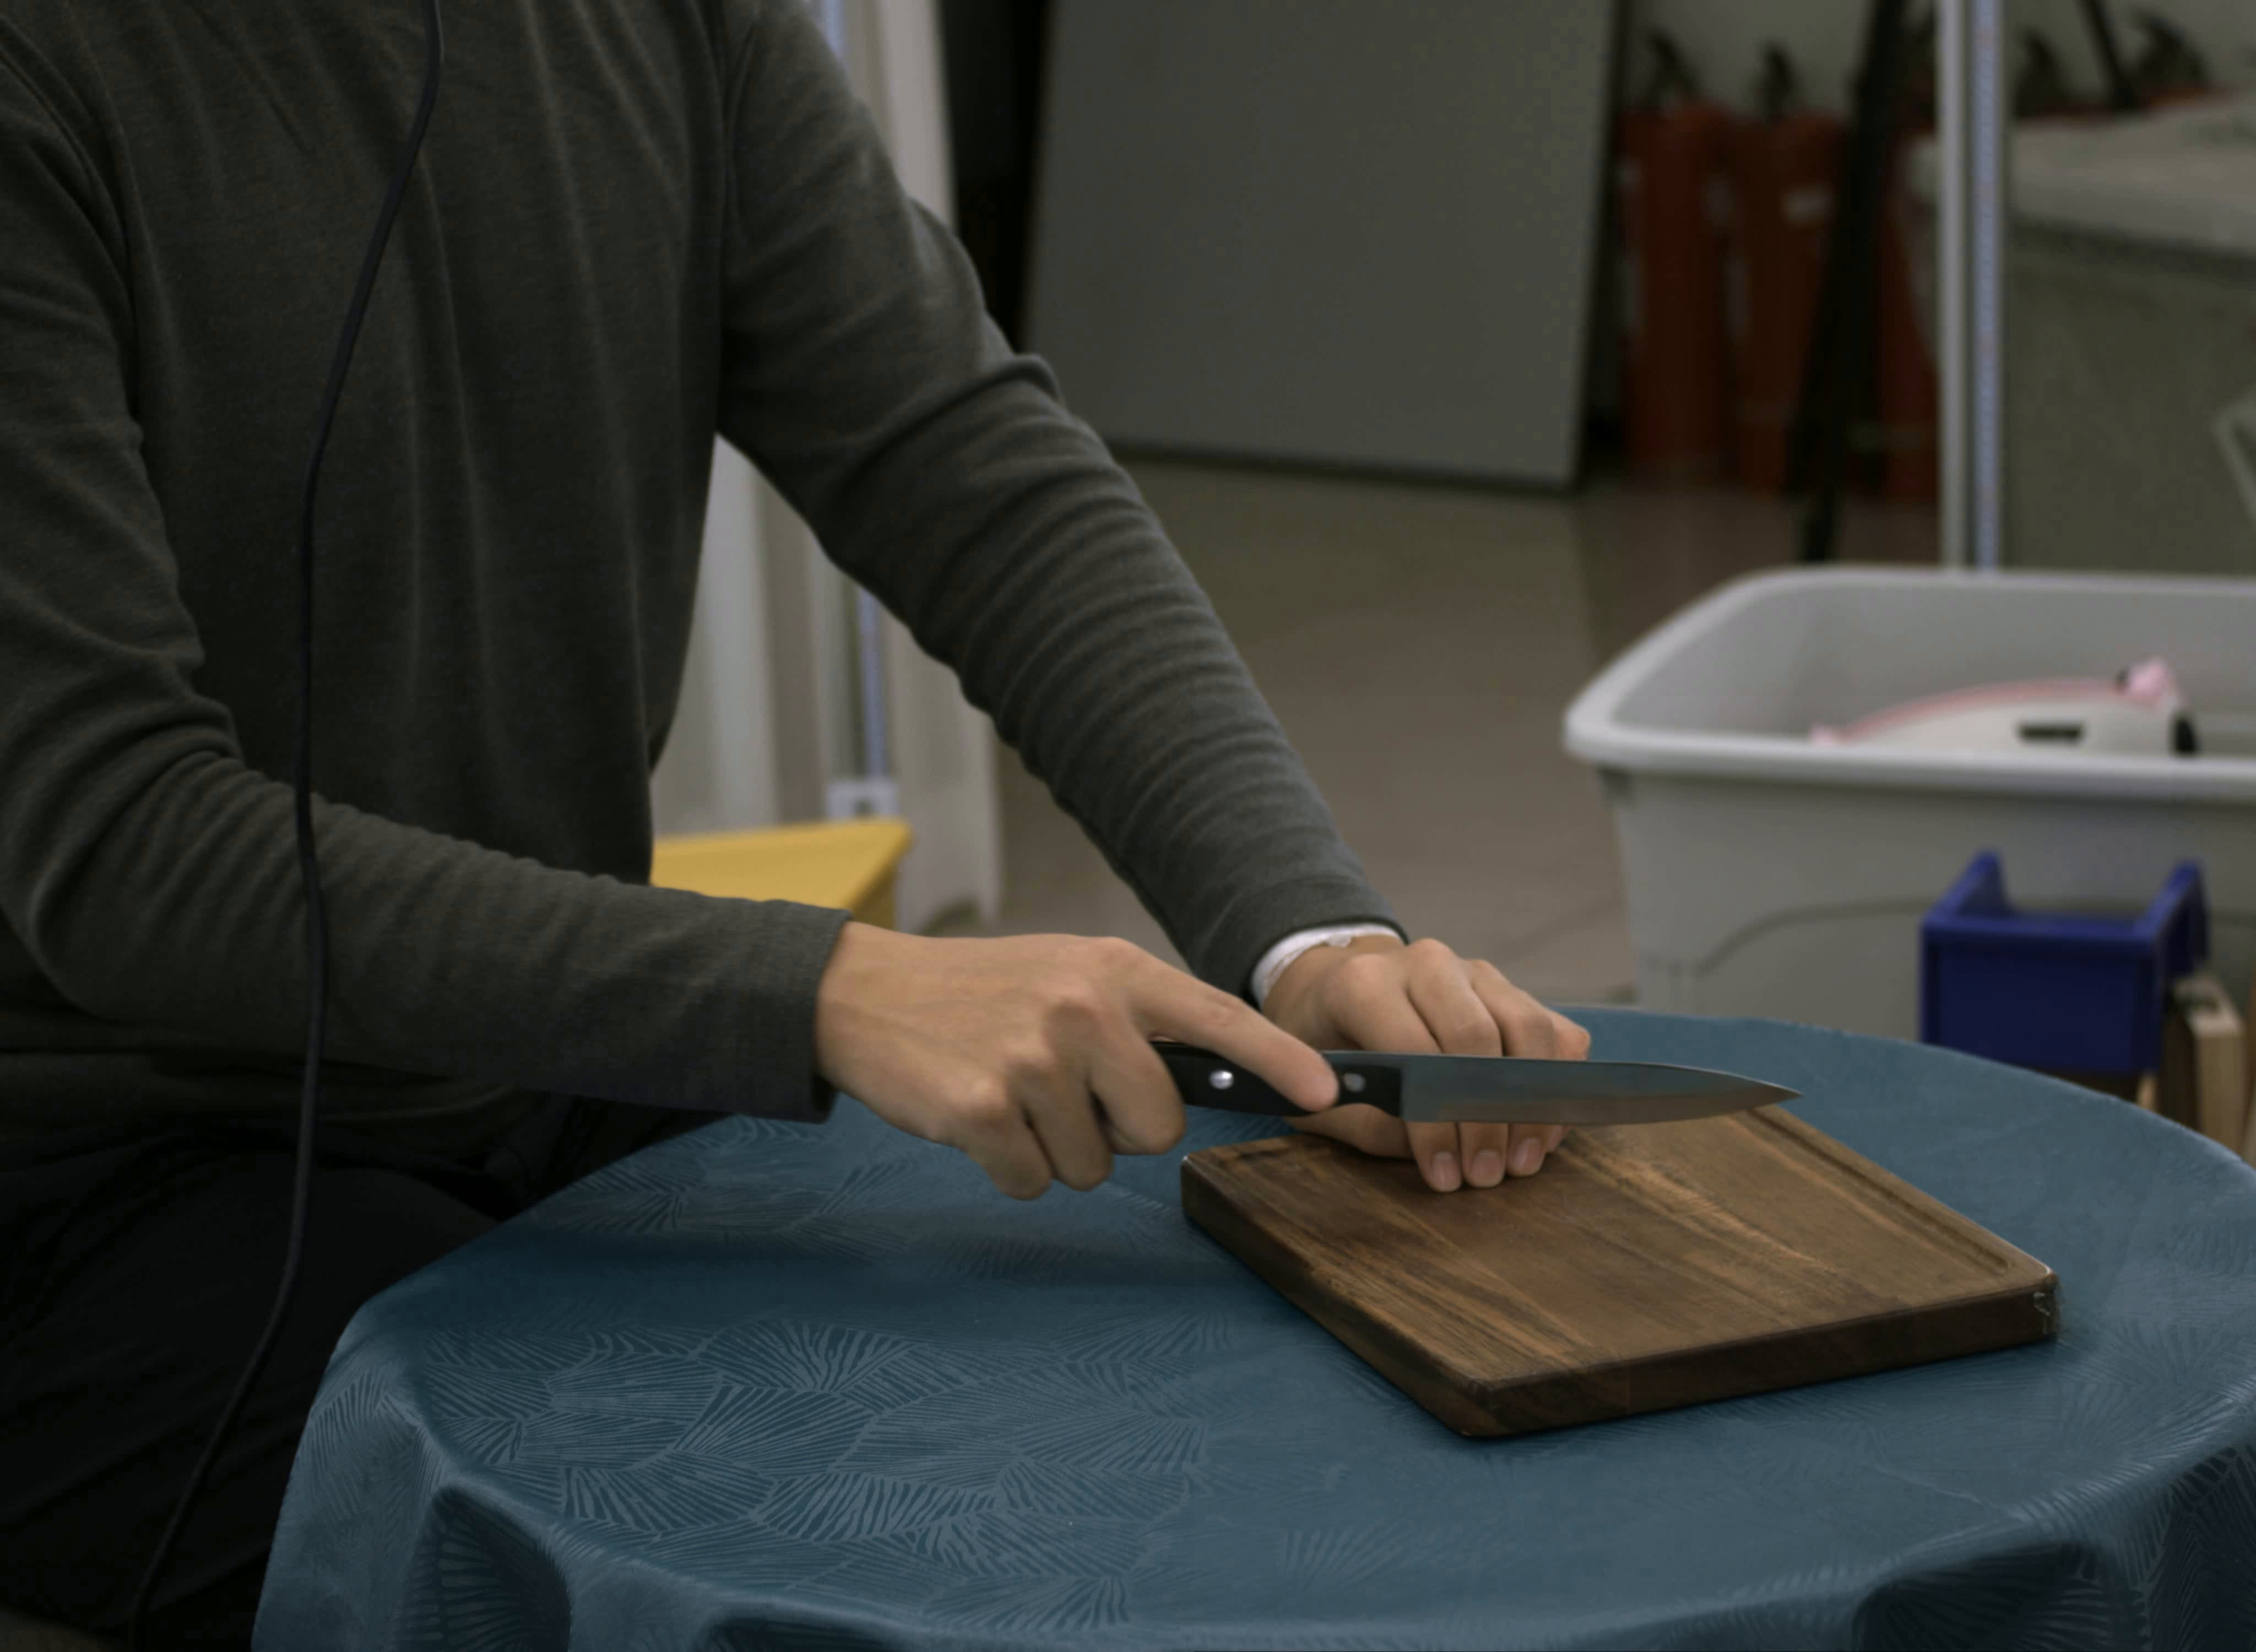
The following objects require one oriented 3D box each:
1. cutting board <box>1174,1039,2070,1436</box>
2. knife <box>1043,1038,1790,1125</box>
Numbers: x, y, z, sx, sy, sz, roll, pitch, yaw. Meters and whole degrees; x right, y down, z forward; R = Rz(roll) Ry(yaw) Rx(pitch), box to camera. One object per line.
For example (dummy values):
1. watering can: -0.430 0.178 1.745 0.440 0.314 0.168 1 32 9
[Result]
1. cutting board: 0.130 0.118 1.707 0.197 0.023 0.355 -8 14 -18
2. knife: 0.088 0.079 1.675 0.237 0.025 0.016 2 18 14
